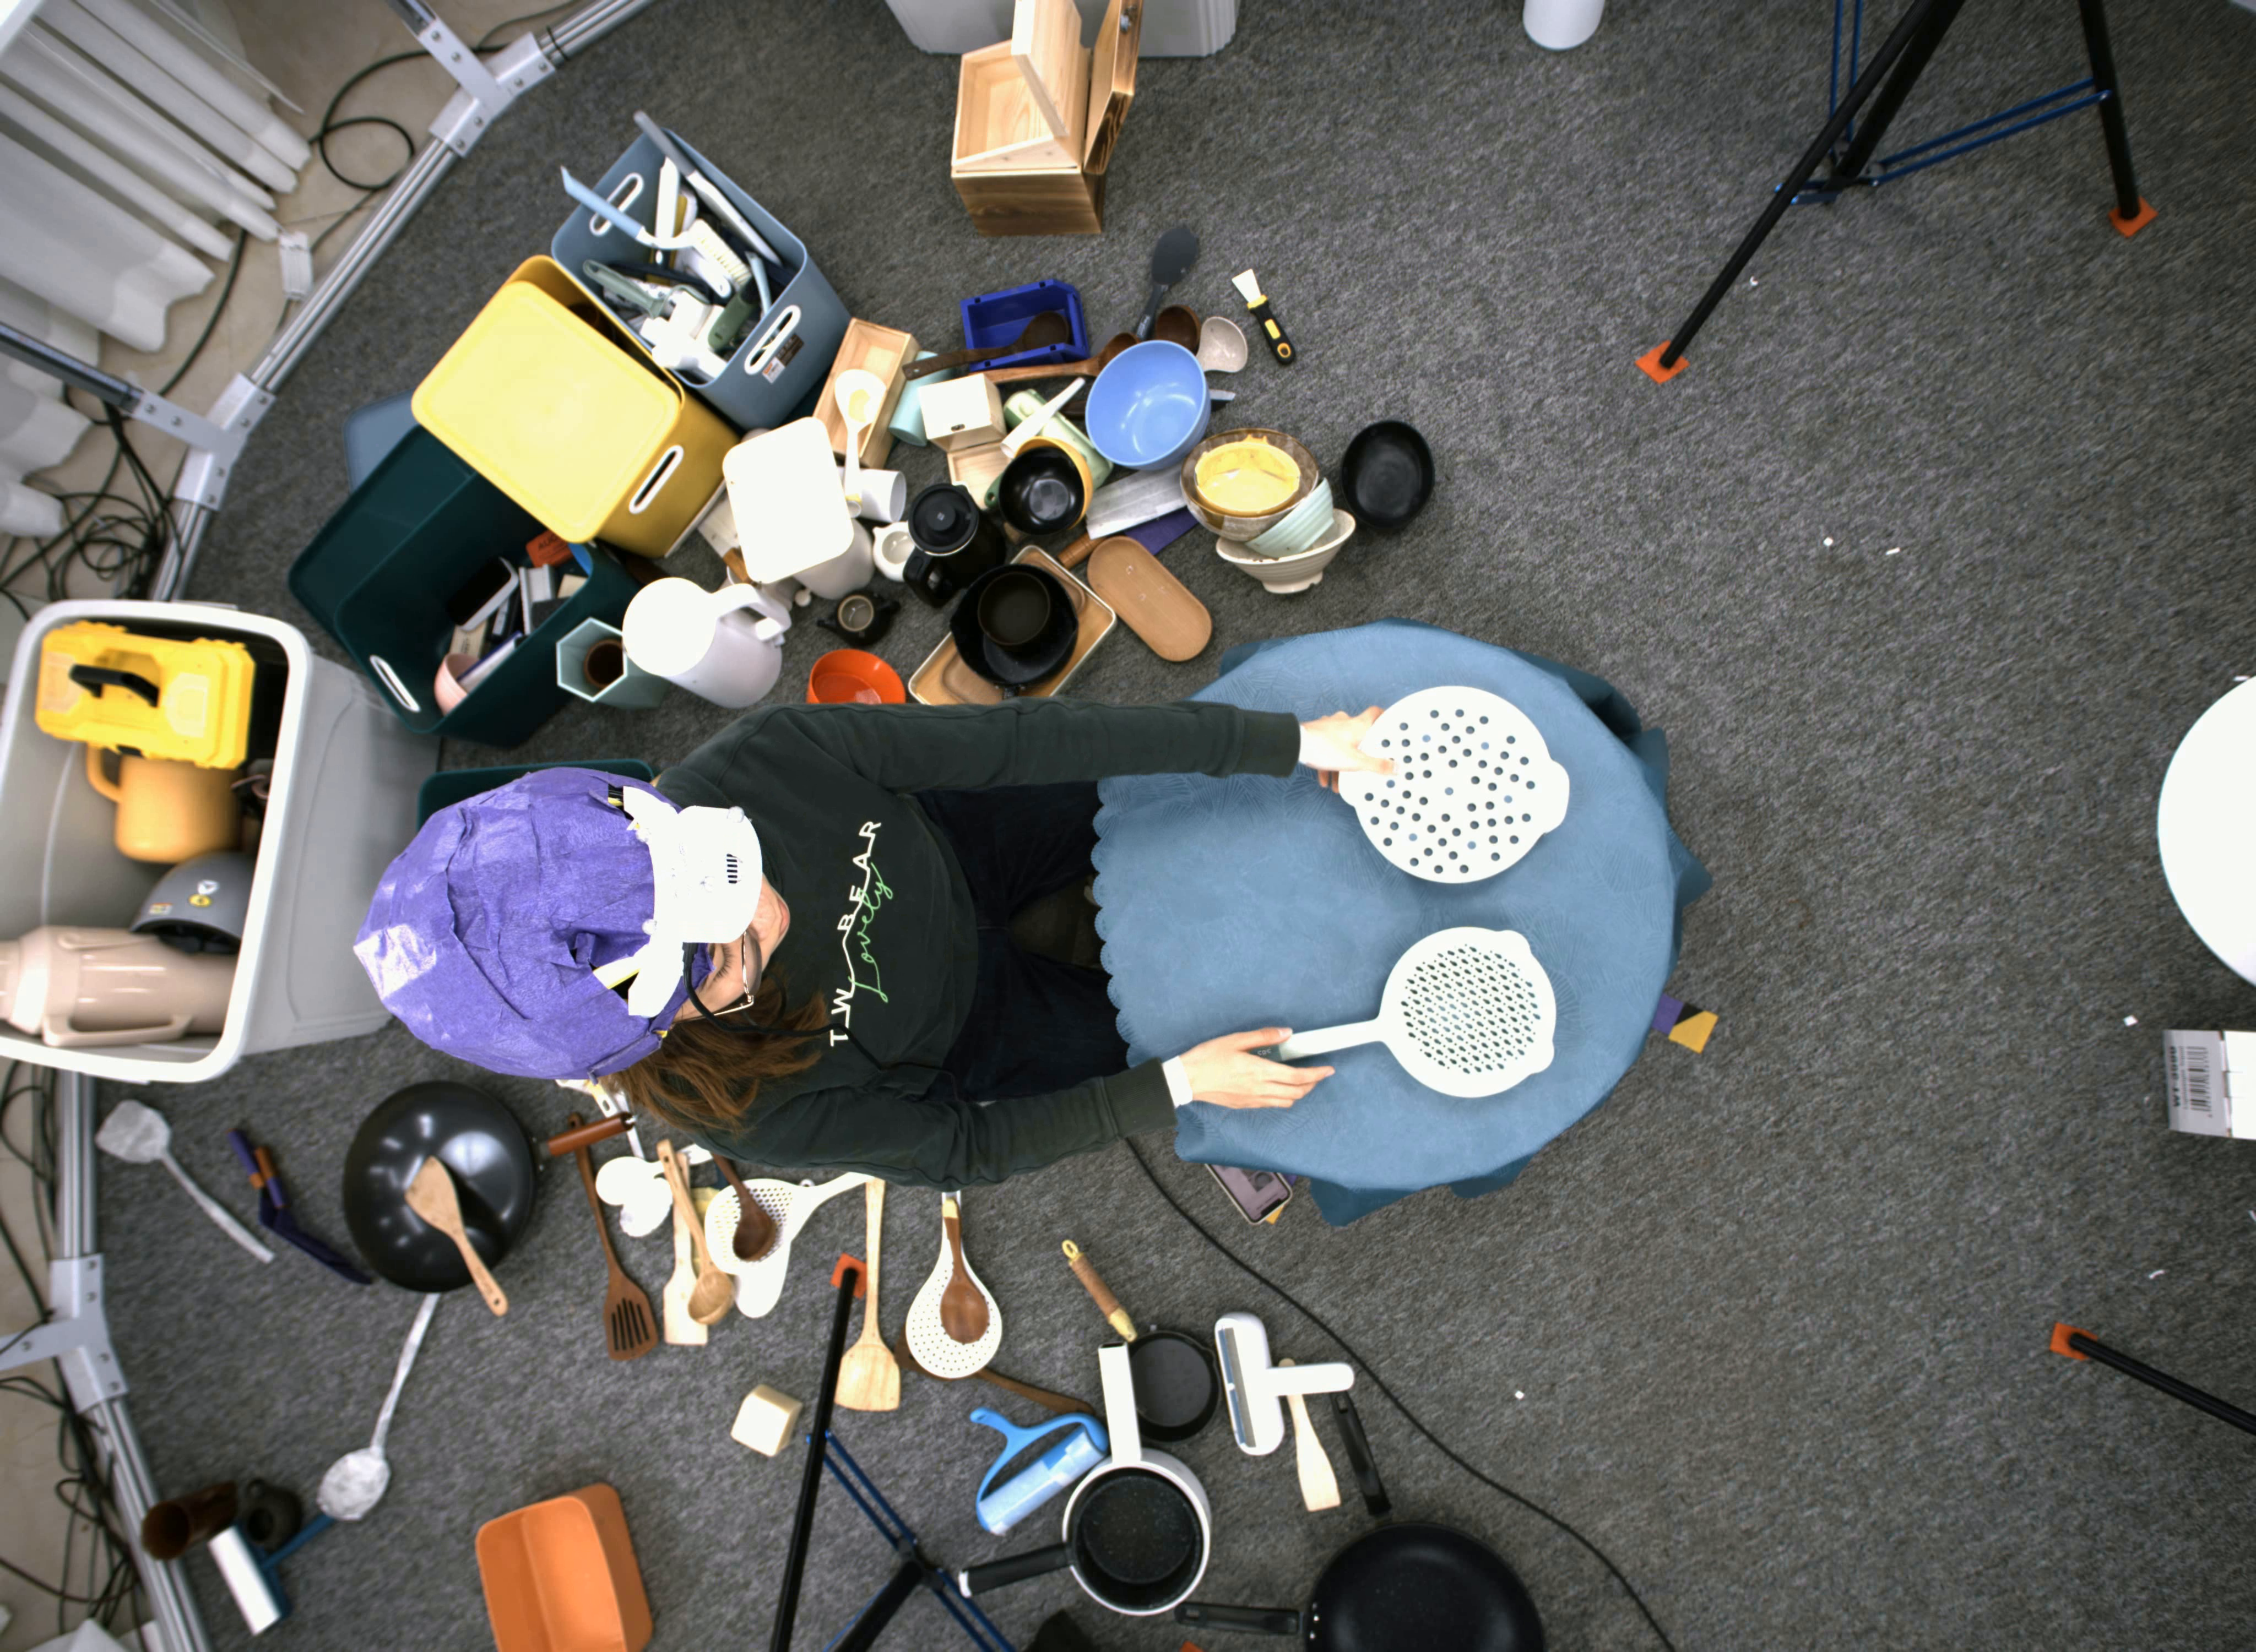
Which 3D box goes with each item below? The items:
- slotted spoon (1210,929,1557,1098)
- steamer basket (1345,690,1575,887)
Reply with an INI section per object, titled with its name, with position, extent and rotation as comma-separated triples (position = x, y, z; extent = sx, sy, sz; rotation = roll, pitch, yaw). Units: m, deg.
[slotted spoon]
position = 0.256, 0.210, 1.426
extent = 0.361, 0.075, 0.168
rotation = -13, 83, 10
[steamer basket]
position = 0.342, -0.038, 1.427
extent = 0.231, 0.069, 0.201
rotation = 7, 86, 11
